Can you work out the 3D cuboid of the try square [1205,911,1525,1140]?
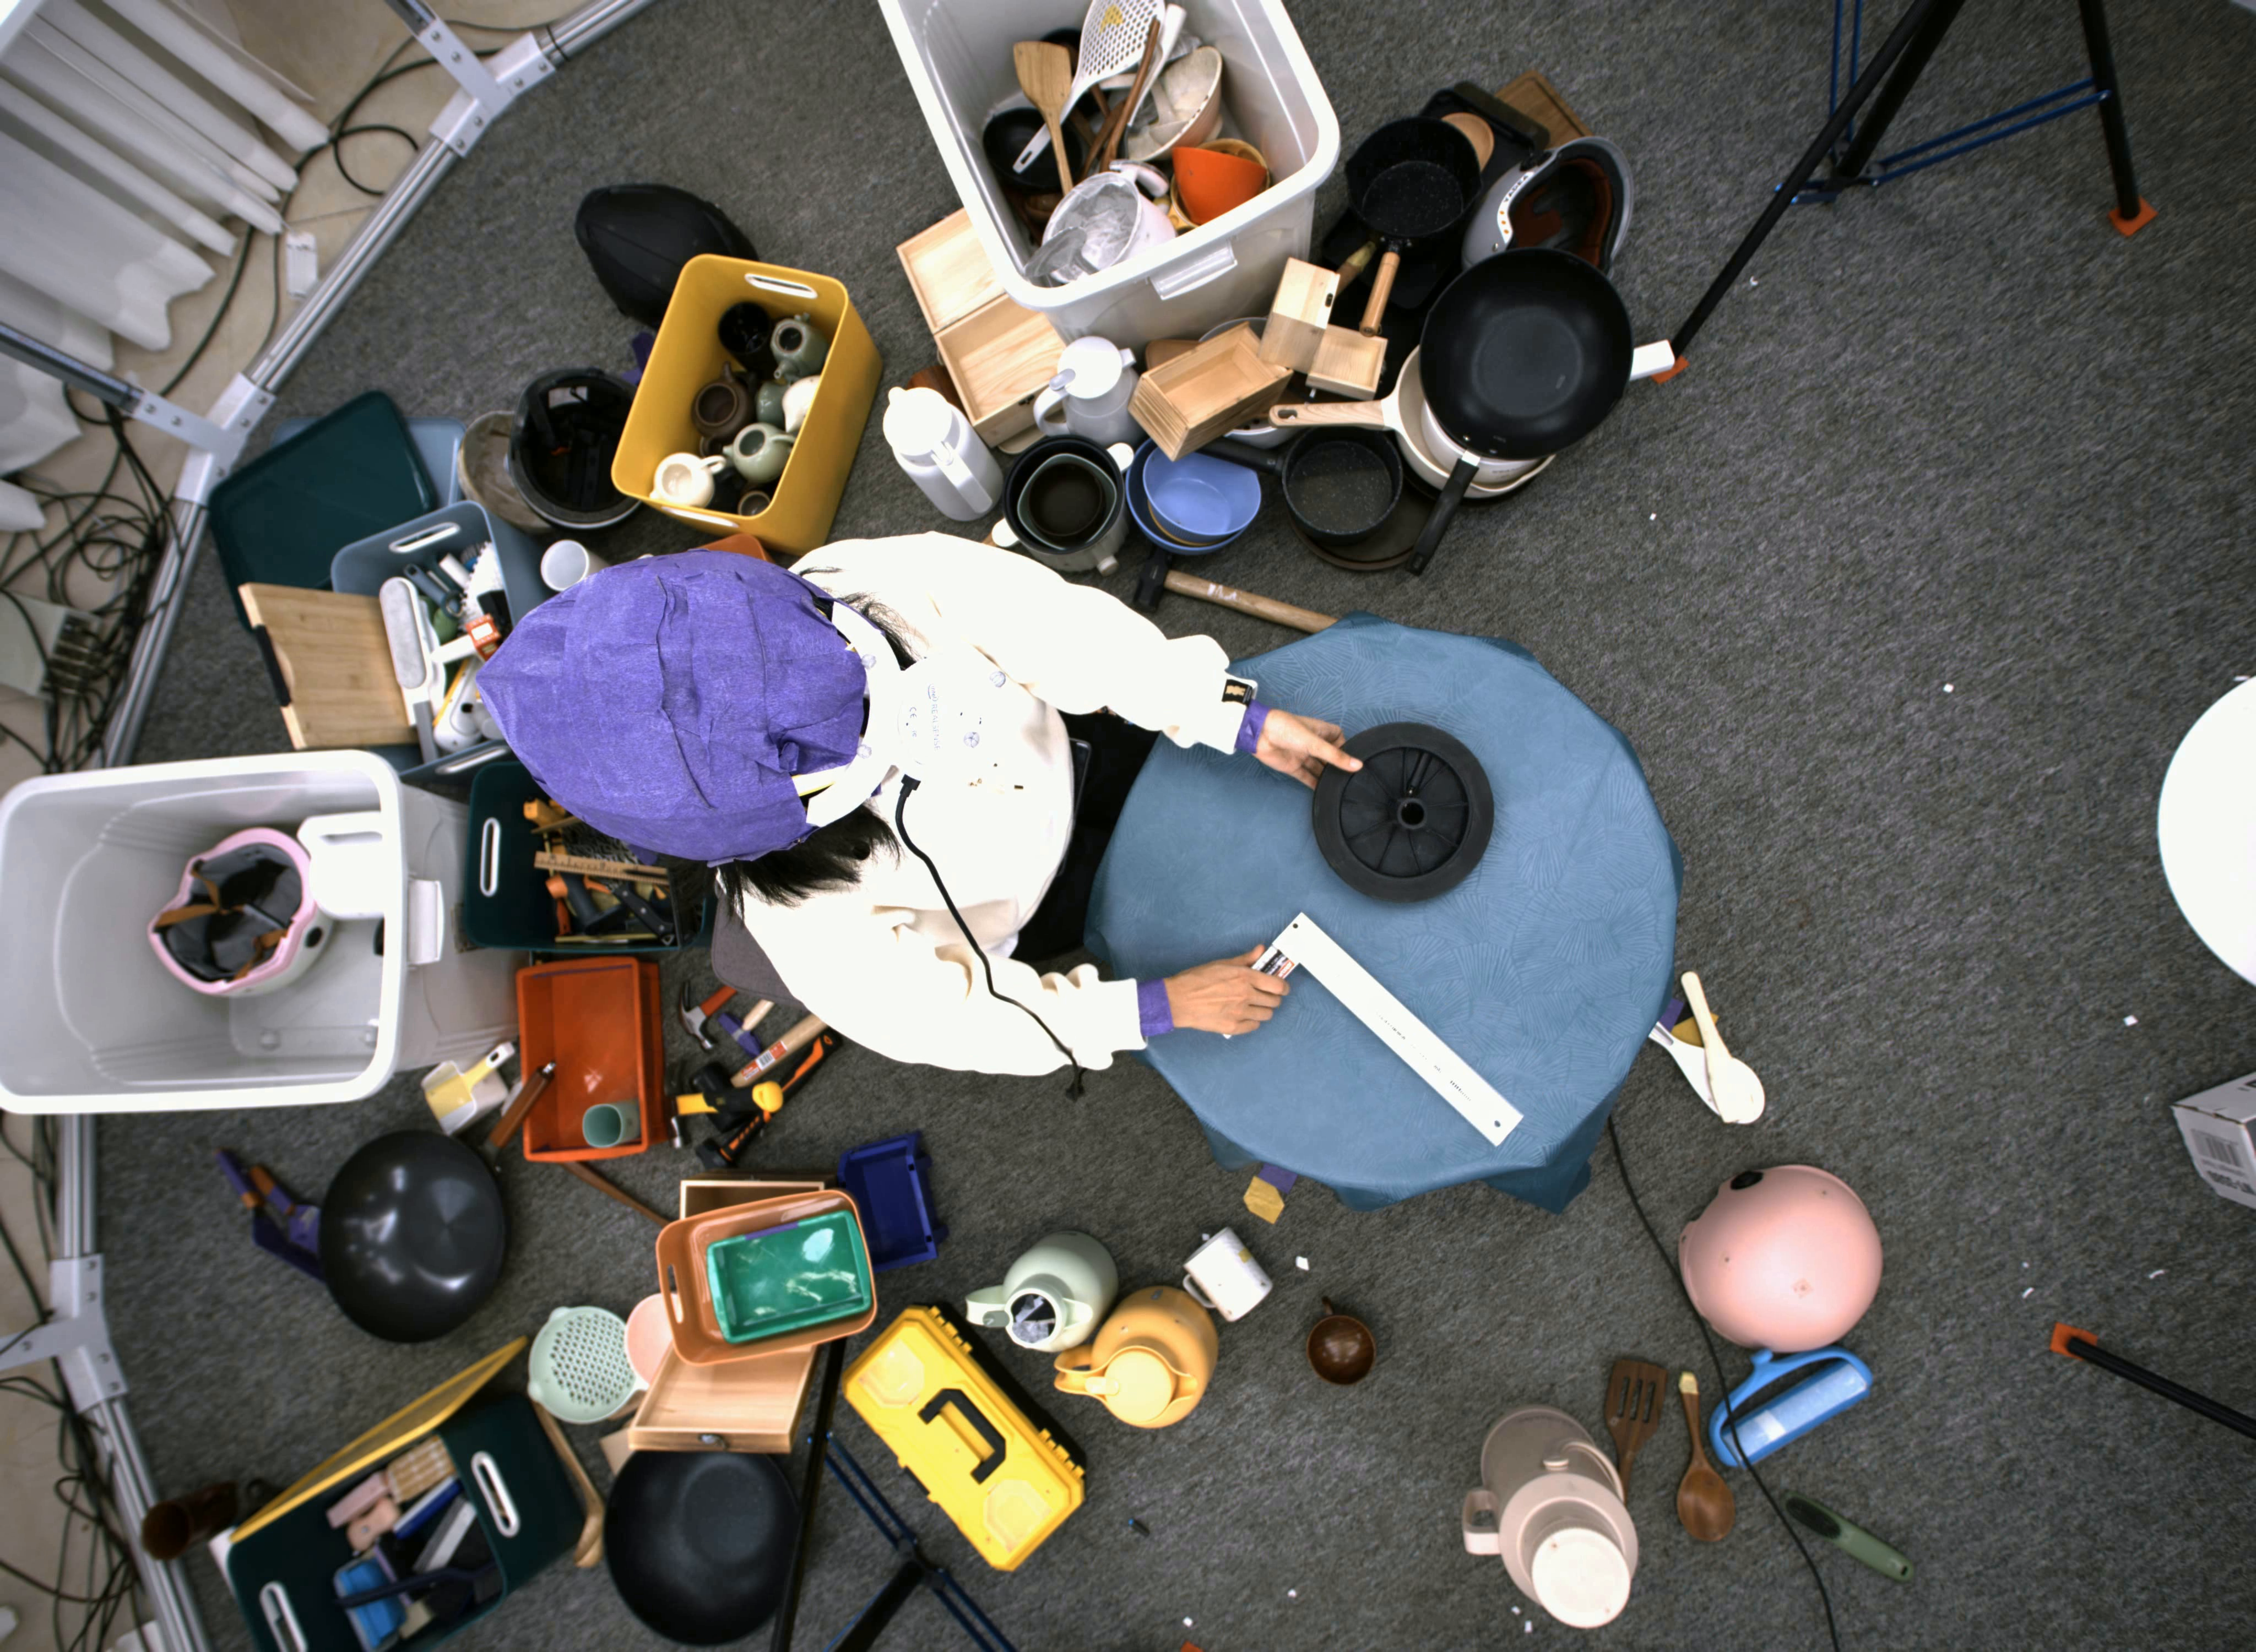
[{"bbox_3d":[0.244,0.244,1.438,0.312,0.016,0.152,42,88,7],"label":"try square"}]

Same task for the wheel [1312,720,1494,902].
[{"bbox_3d":[0.285,-0.017,1.414,0.188,0.079,0.190,0,93,3],"label":"wheel"}]
